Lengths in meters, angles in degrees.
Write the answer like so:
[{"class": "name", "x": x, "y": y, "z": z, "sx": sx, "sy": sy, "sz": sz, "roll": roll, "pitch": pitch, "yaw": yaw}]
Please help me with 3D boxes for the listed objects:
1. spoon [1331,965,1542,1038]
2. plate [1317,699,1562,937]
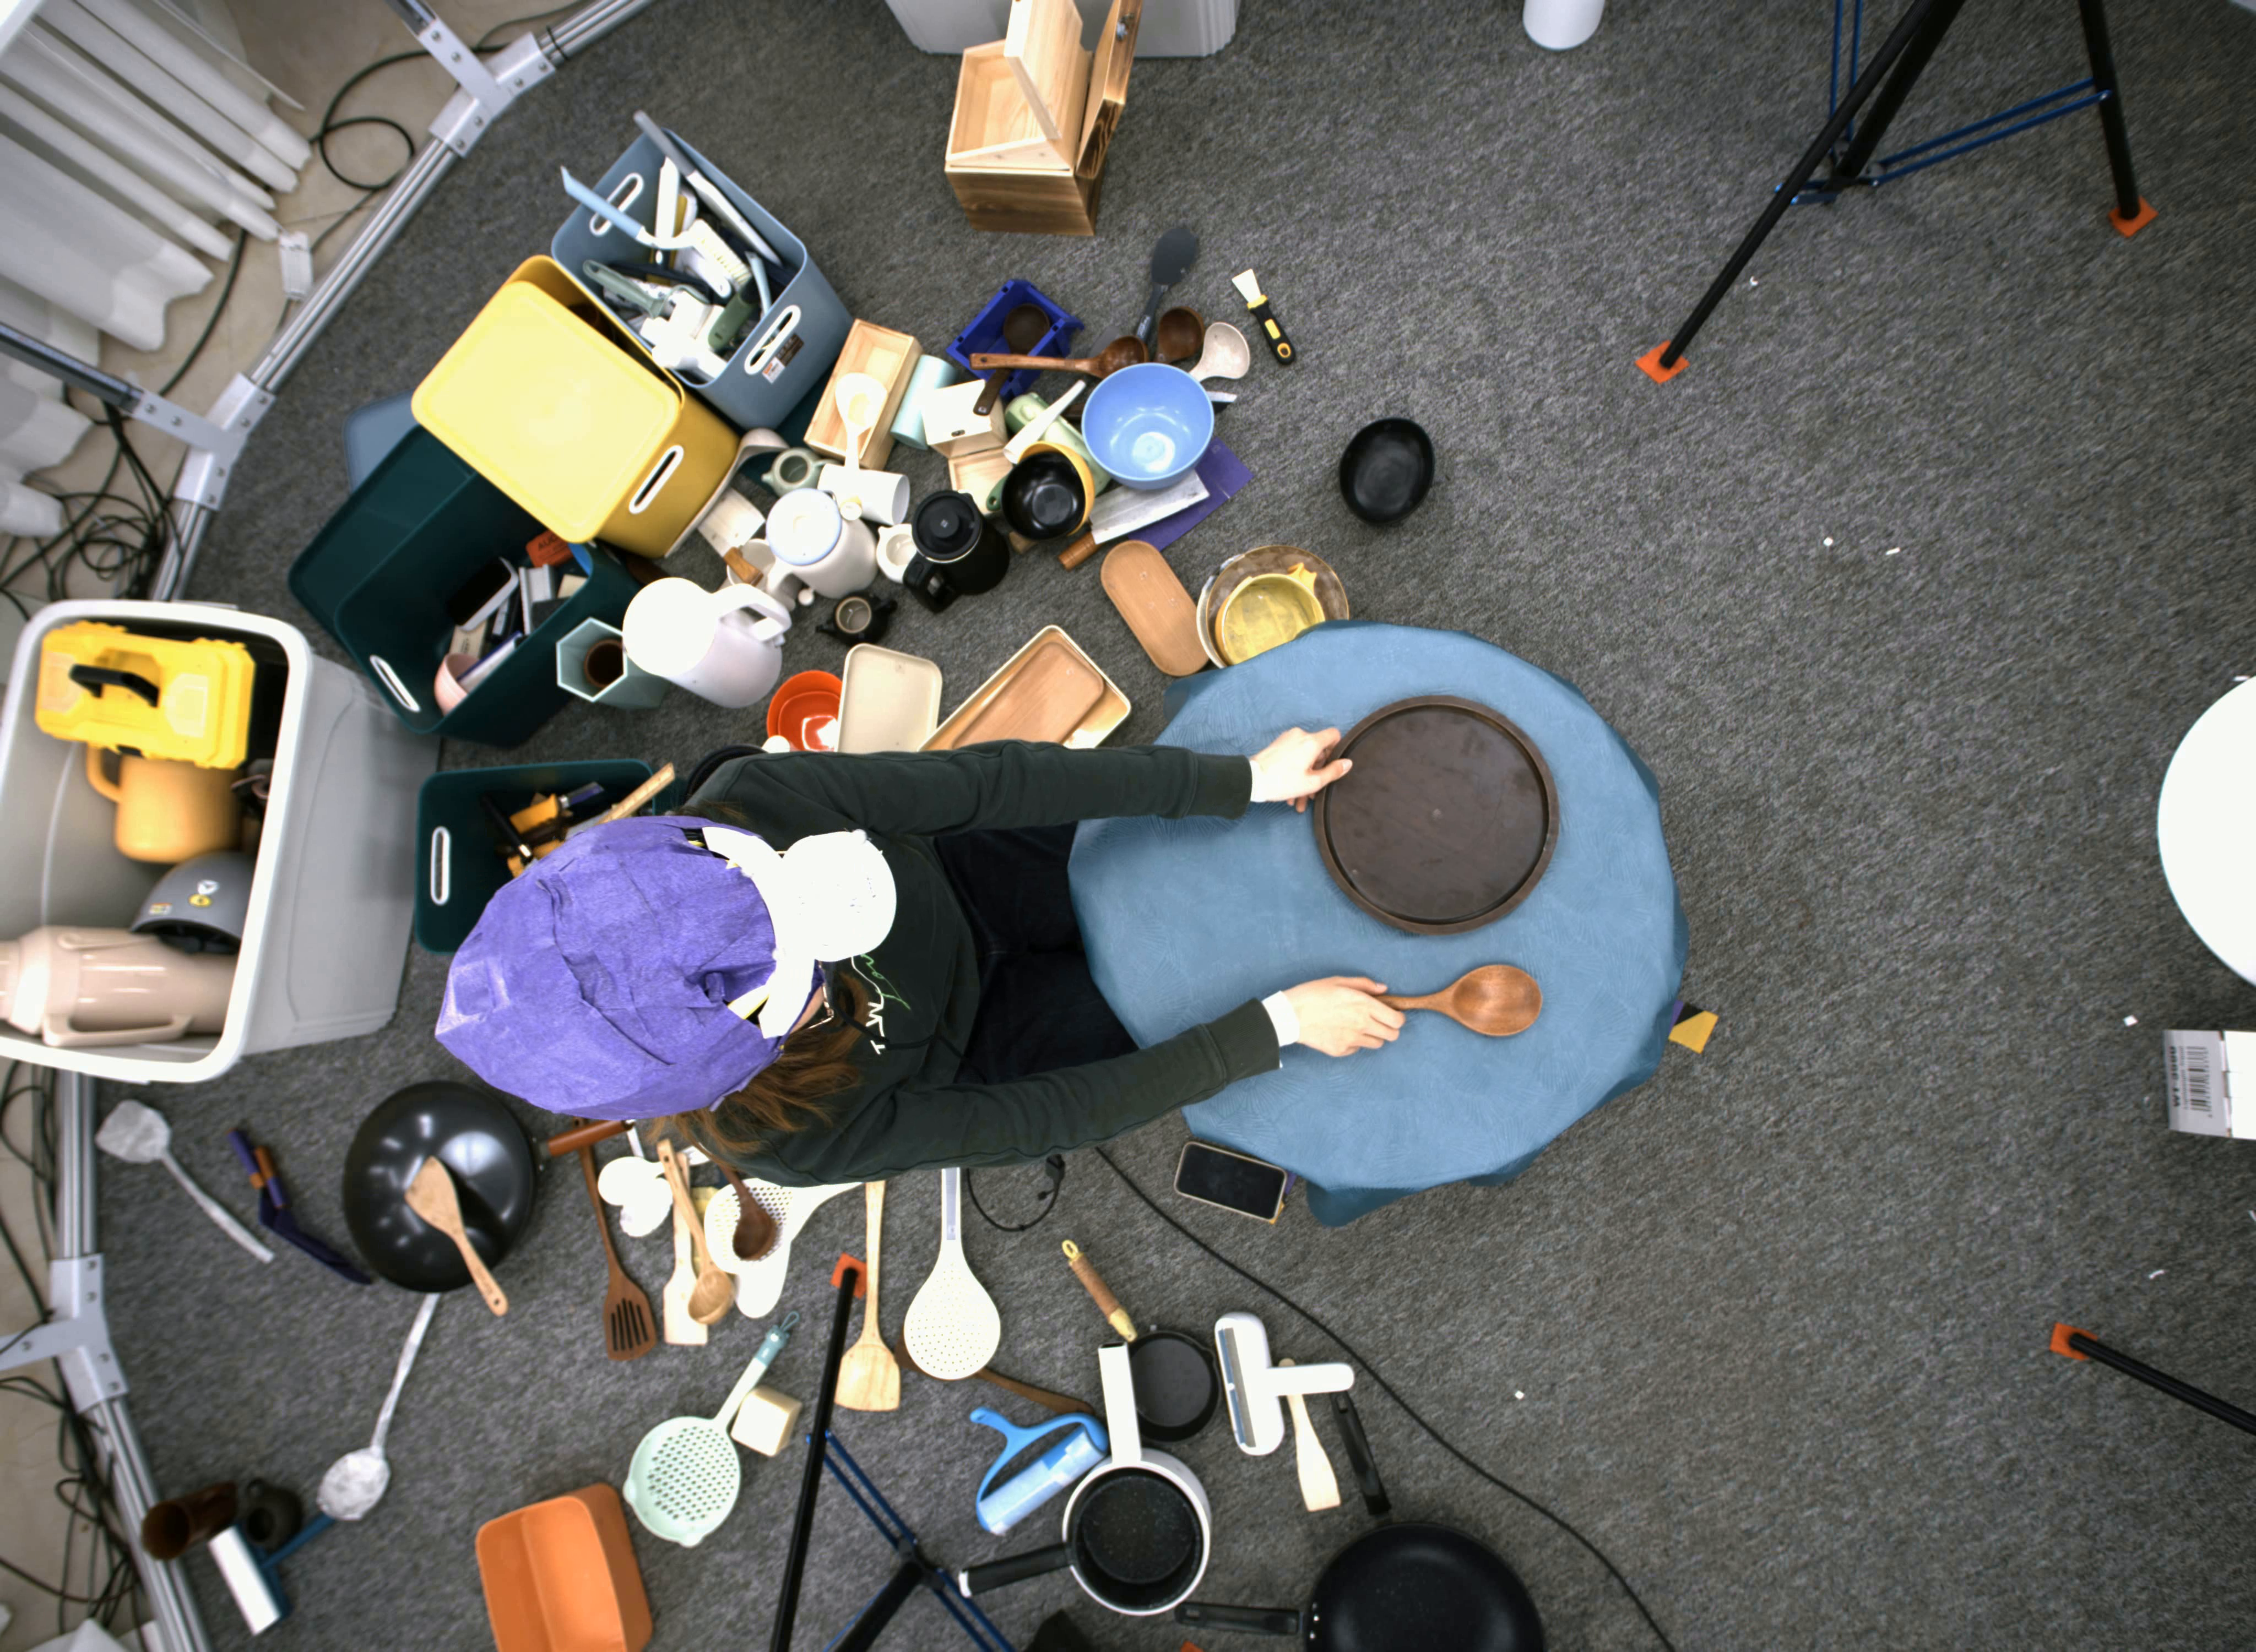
[{"class": "spoon", "x": 0.320, "y": 0.183, "z": 1.439, "sx": 0.217, "sy": 0.017, "sz": 0.075, "roll": -3, "pitch": 86, "yaw": 10}, {"class": "plate", "x": 0.325, "y": -0.010, "z": 1.449, "sx": 0.256, "sy": 0.029, "sz": 0.253, "roll": -1, "pitch": 85, "yaw": 9}]
